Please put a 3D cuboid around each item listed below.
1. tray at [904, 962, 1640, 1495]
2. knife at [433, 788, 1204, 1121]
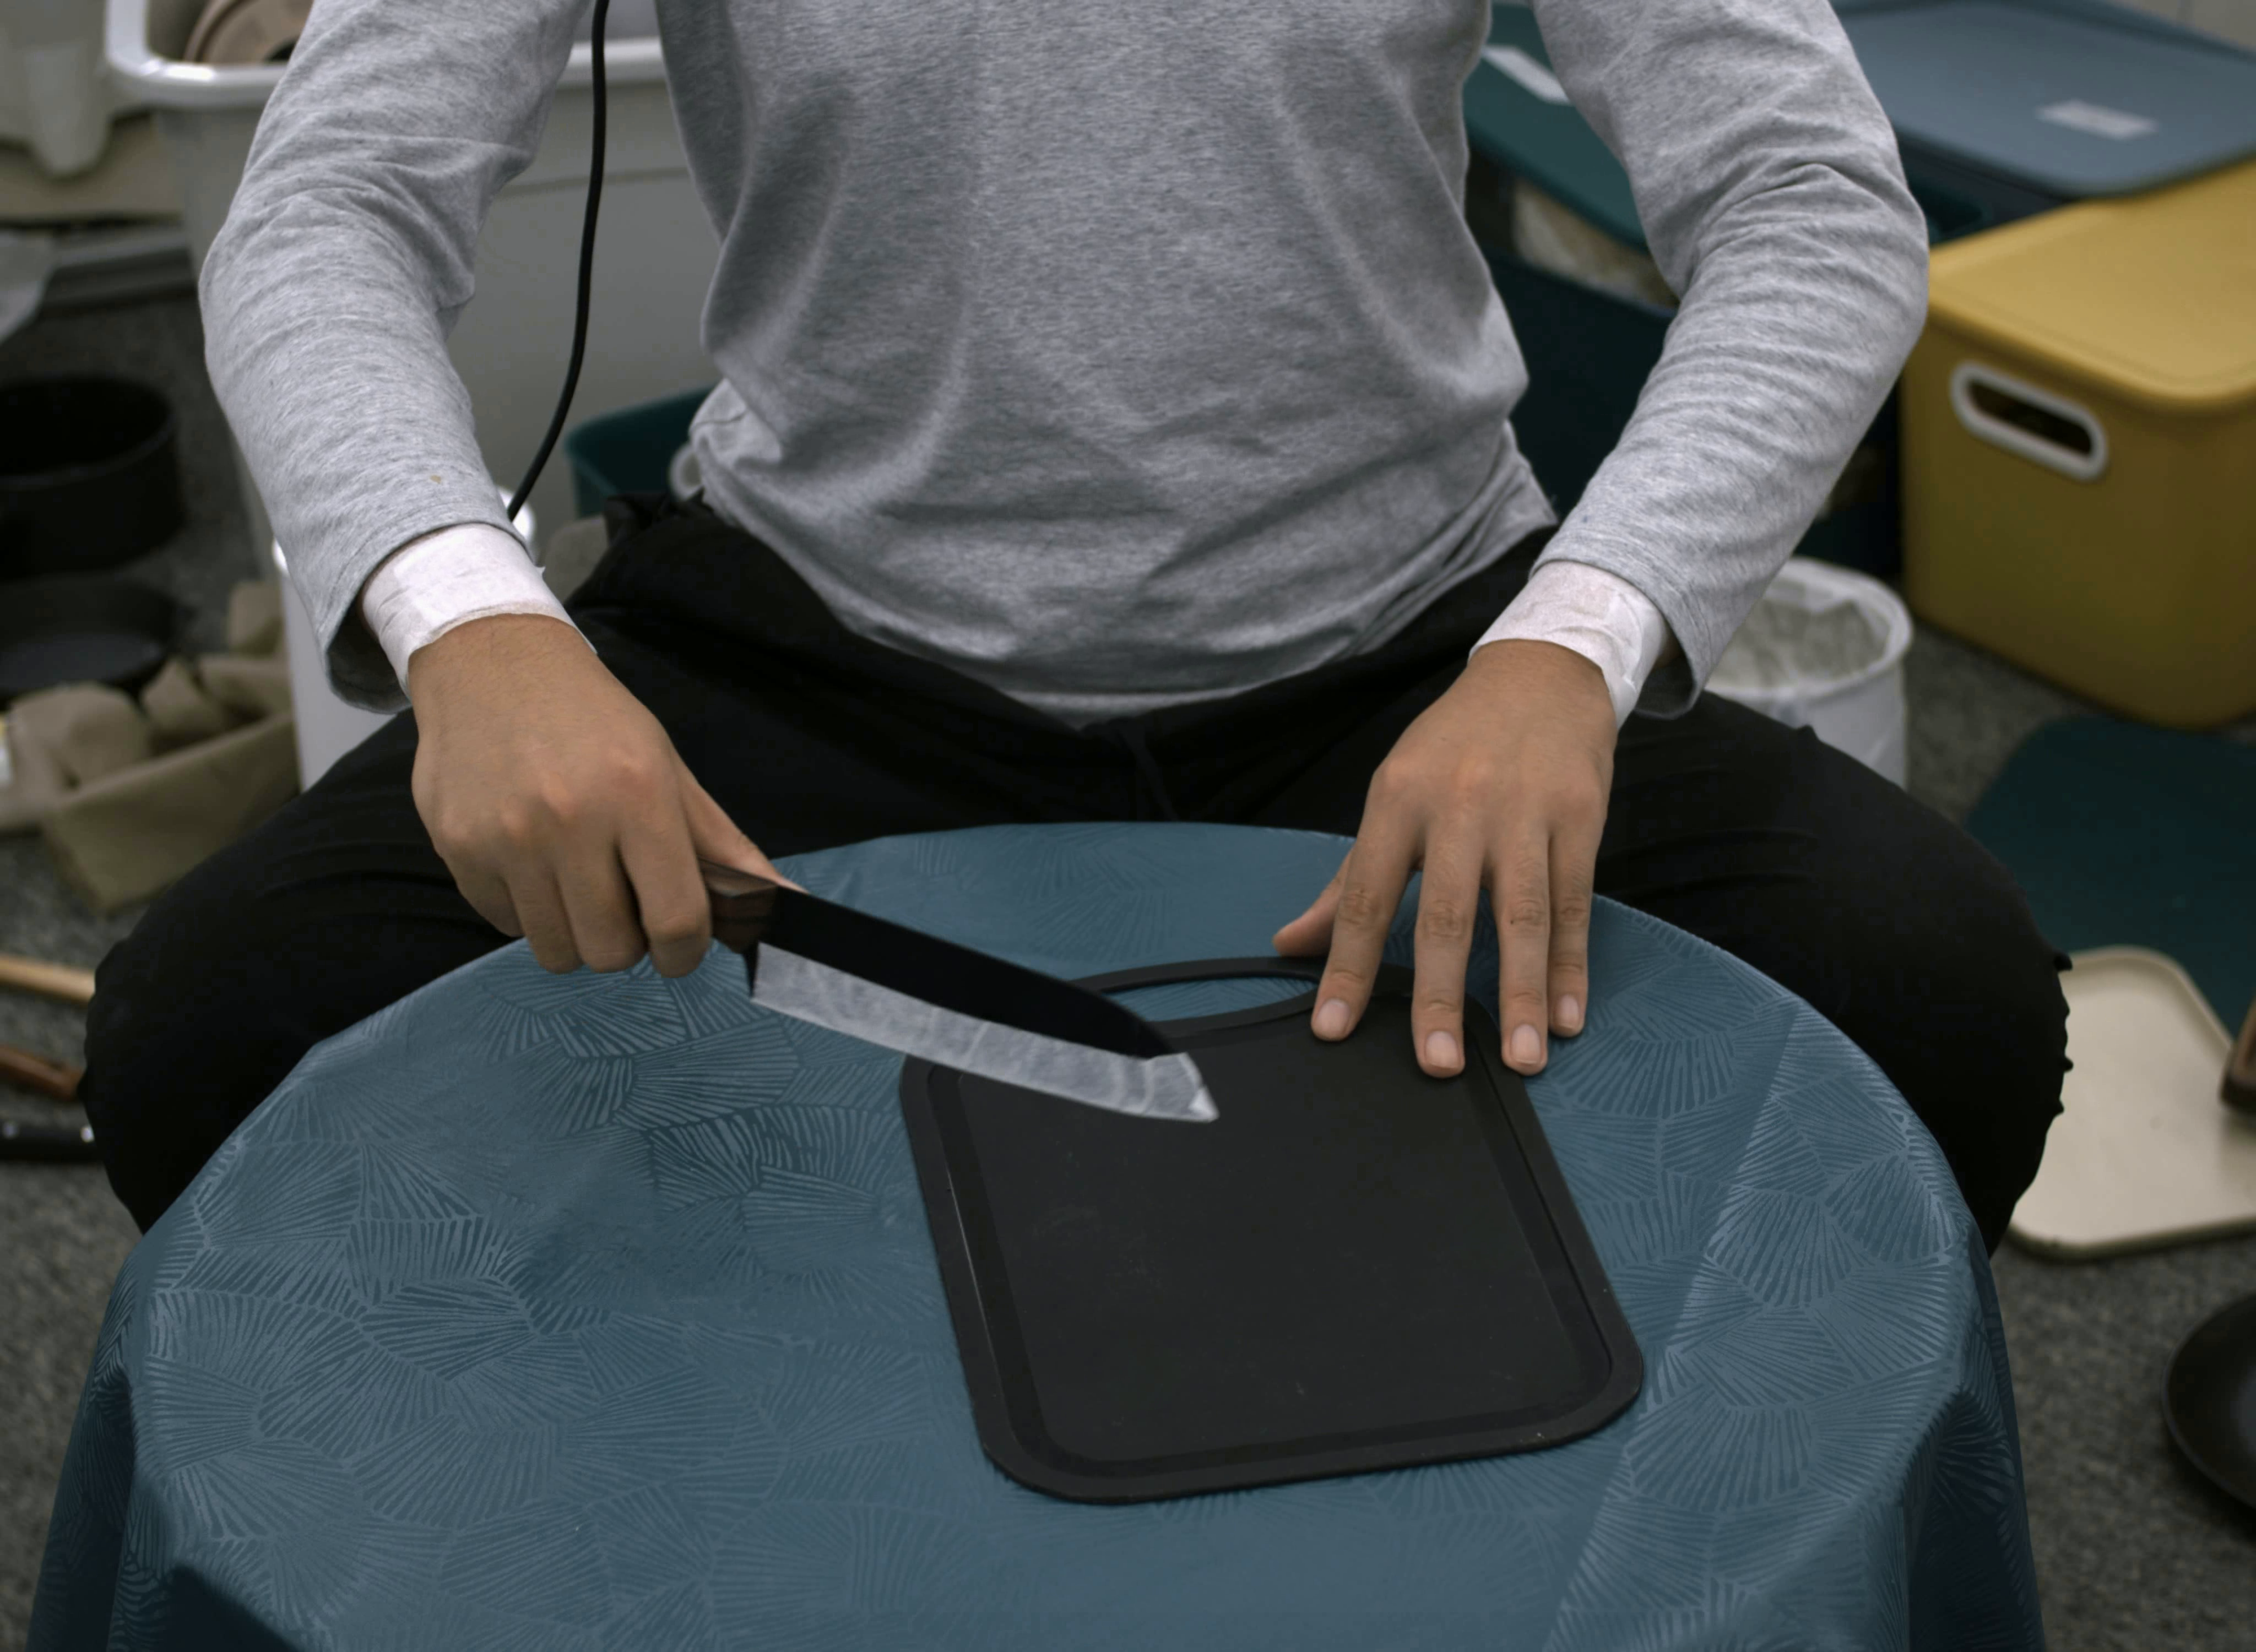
[{"bbox_3d":[0.039,0.123,1.849,0.210,0.009,0.329,-6,27,-6],"label":"tray"},{"bbox_3d":[-0.102,0.042,1.824,0.288,0.050,0.020,20,26,20],"label":"knife"}]
